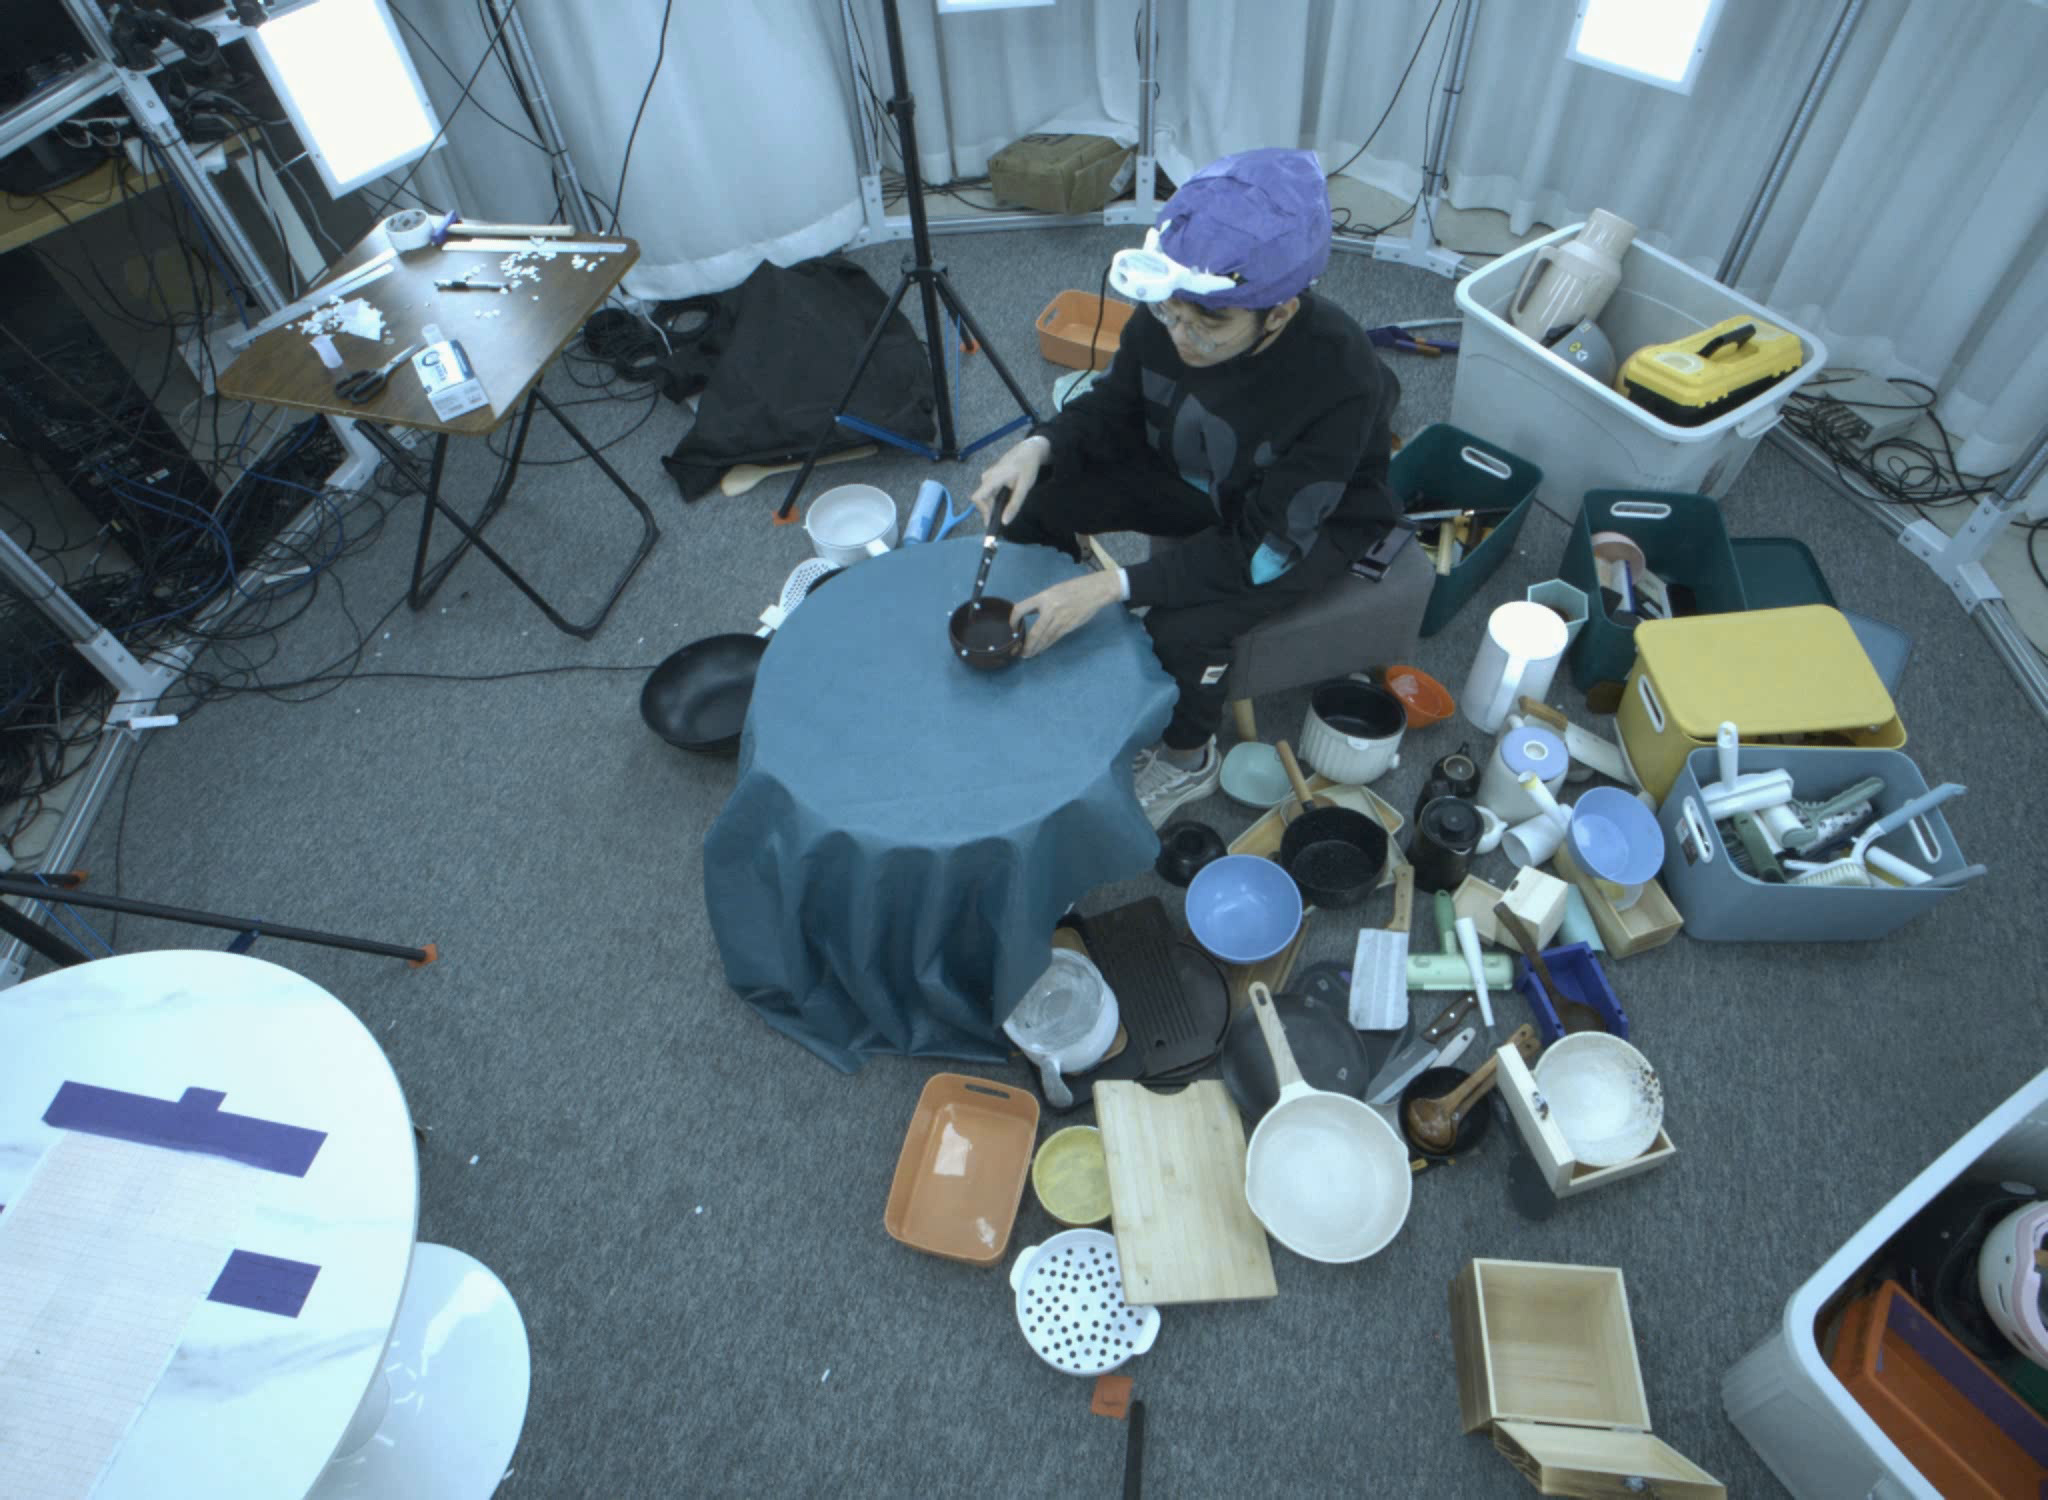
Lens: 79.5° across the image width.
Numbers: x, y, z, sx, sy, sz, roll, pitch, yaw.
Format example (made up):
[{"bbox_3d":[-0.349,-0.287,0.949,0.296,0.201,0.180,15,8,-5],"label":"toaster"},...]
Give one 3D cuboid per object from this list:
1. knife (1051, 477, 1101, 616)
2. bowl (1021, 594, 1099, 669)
[{"bbox_3d":[0.072,-0.303,1.814,0.026,0.017,0.225,24,79,-23],"label":"knife"},{"bbox_3d":[0.054,-0.171,1.860,0.118,0.070,0.117,1,55,0],"label":"bowl"}]
